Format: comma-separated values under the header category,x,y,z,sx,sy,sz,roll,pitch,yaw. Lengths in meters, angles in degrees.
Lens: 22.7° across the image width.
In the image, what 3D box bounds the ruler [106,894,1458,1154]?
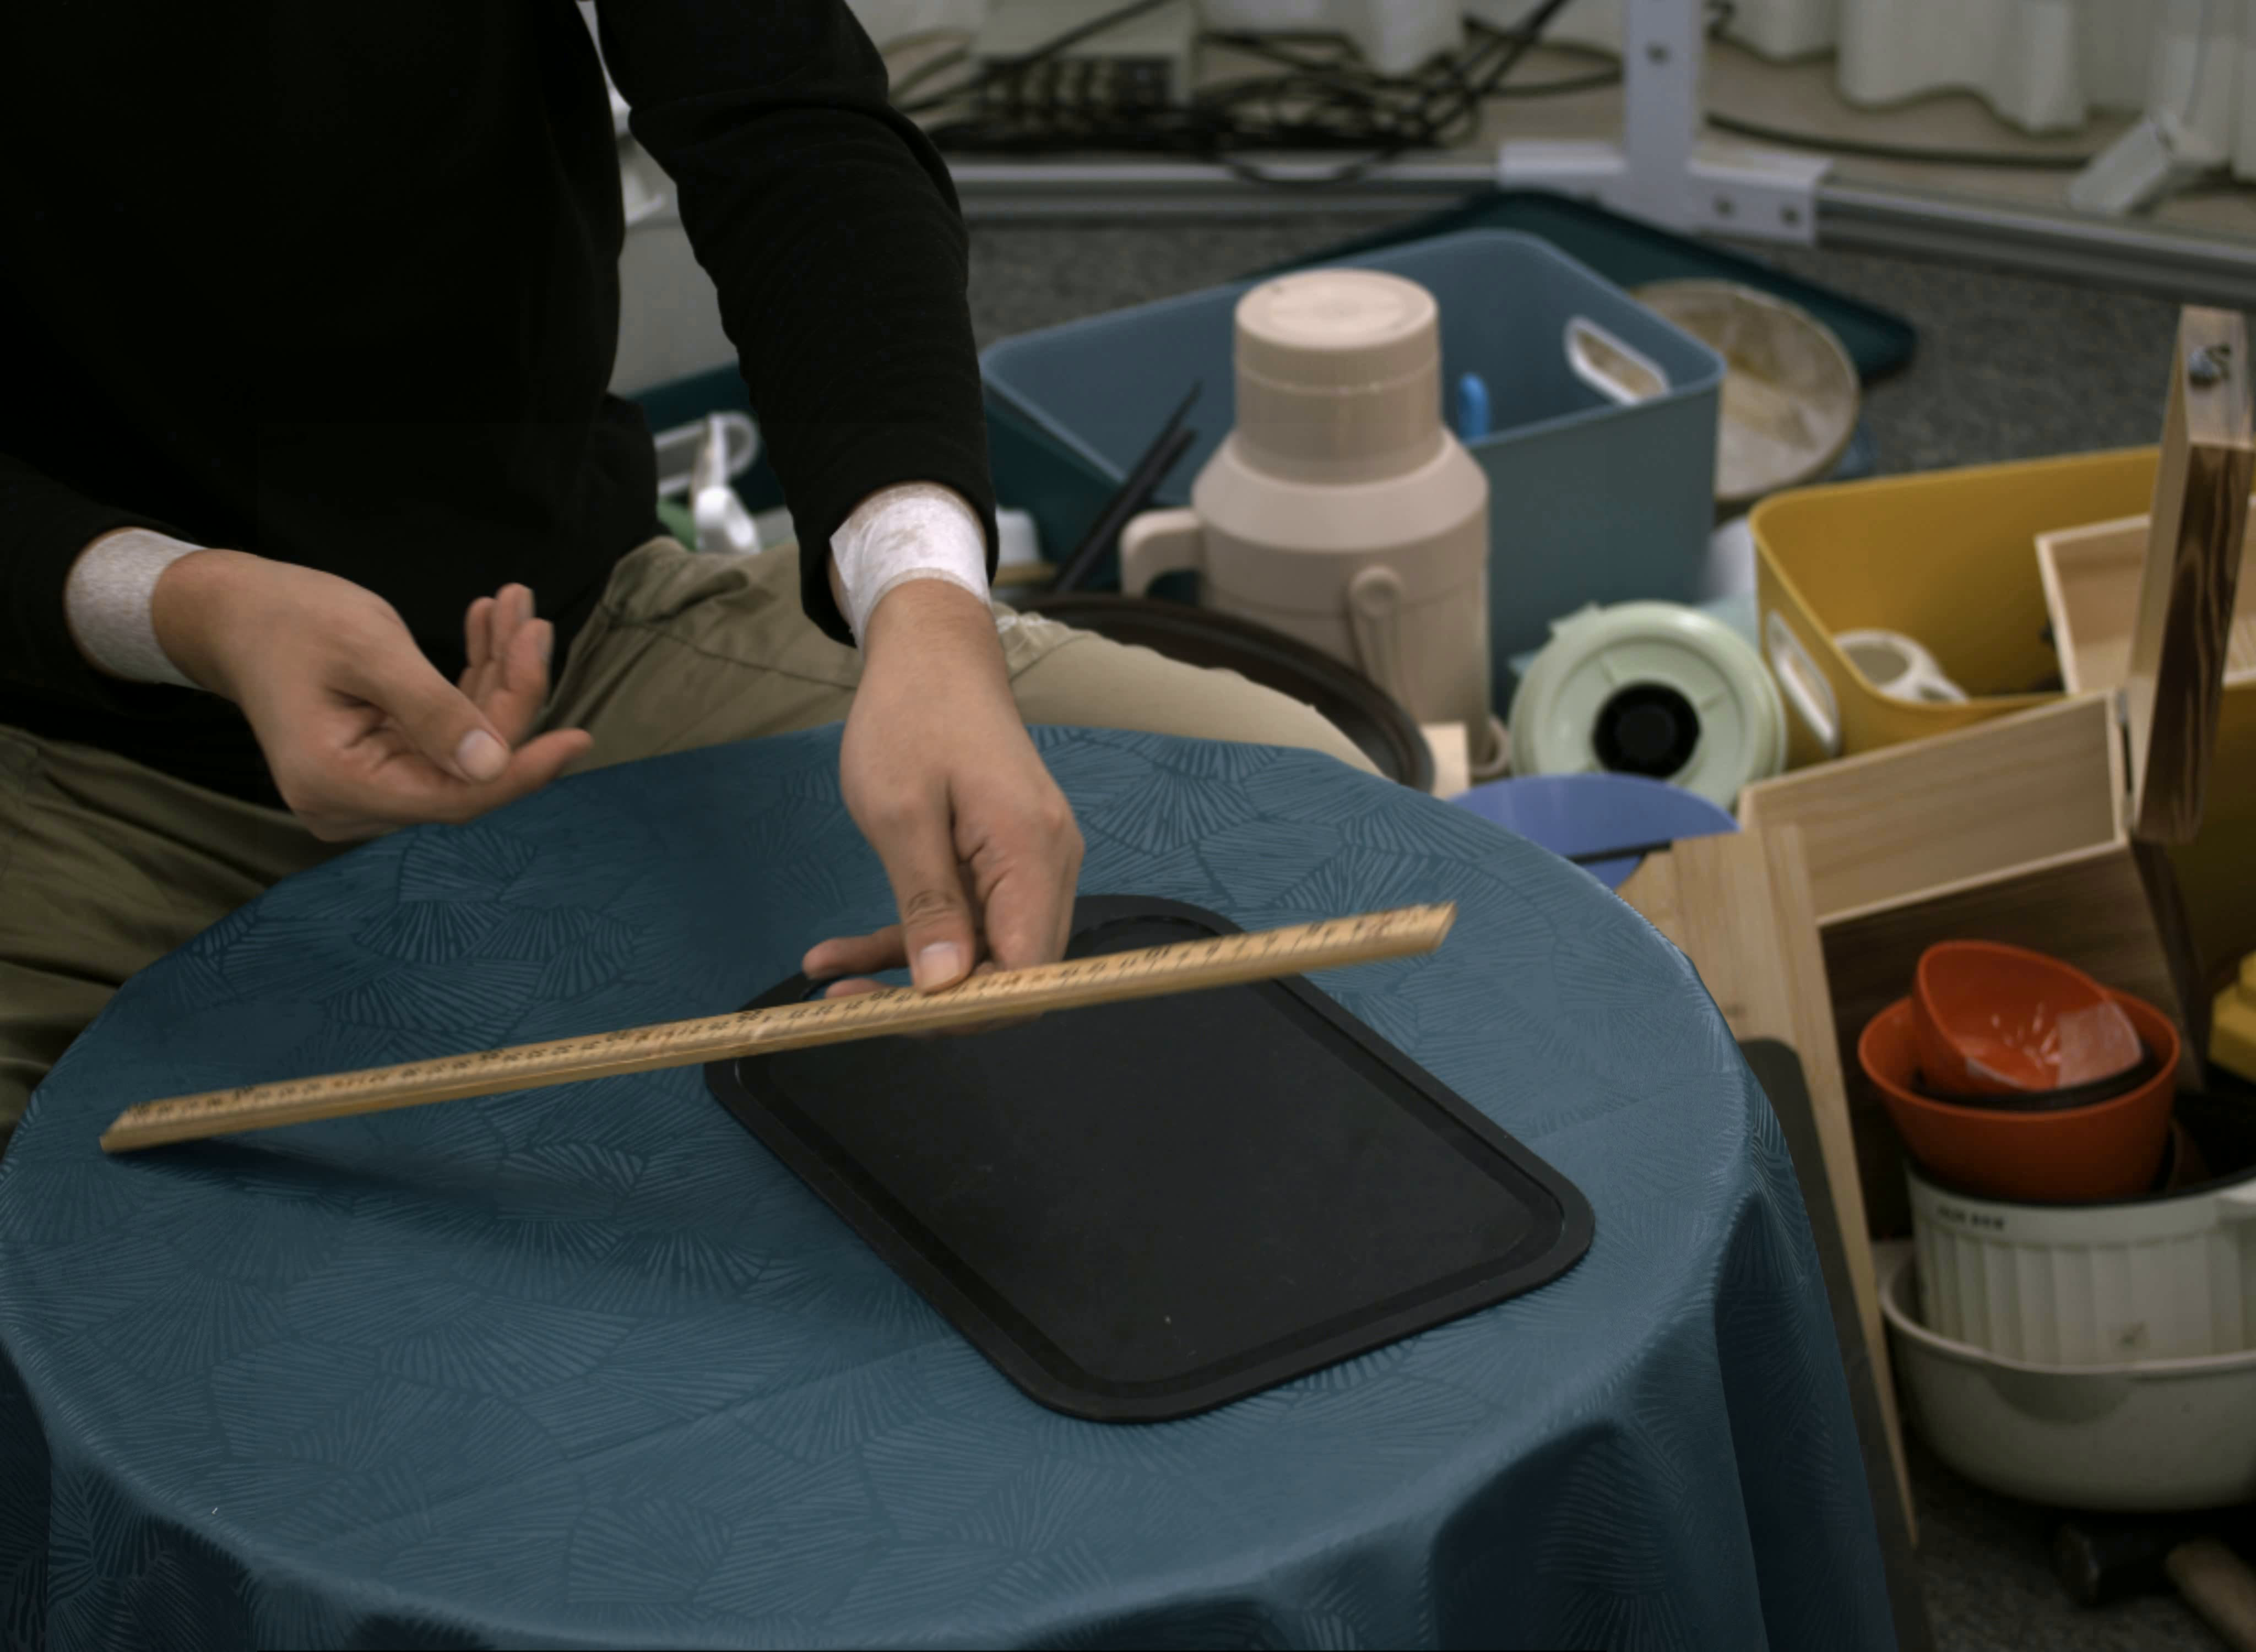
category,x,y,z,sx,sy,sz,roll,pitch,yaw
ruler,-0.123,0.066,1.816,0.495,0.006,0.027,-10,21,25

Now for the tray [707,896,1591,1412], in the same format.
category,x,y,z,sx,sy,sz,roll,pitch,yaw
tray,-0.003,0.101,1.894,0.212,0.009,0.327,-17,30,-25
